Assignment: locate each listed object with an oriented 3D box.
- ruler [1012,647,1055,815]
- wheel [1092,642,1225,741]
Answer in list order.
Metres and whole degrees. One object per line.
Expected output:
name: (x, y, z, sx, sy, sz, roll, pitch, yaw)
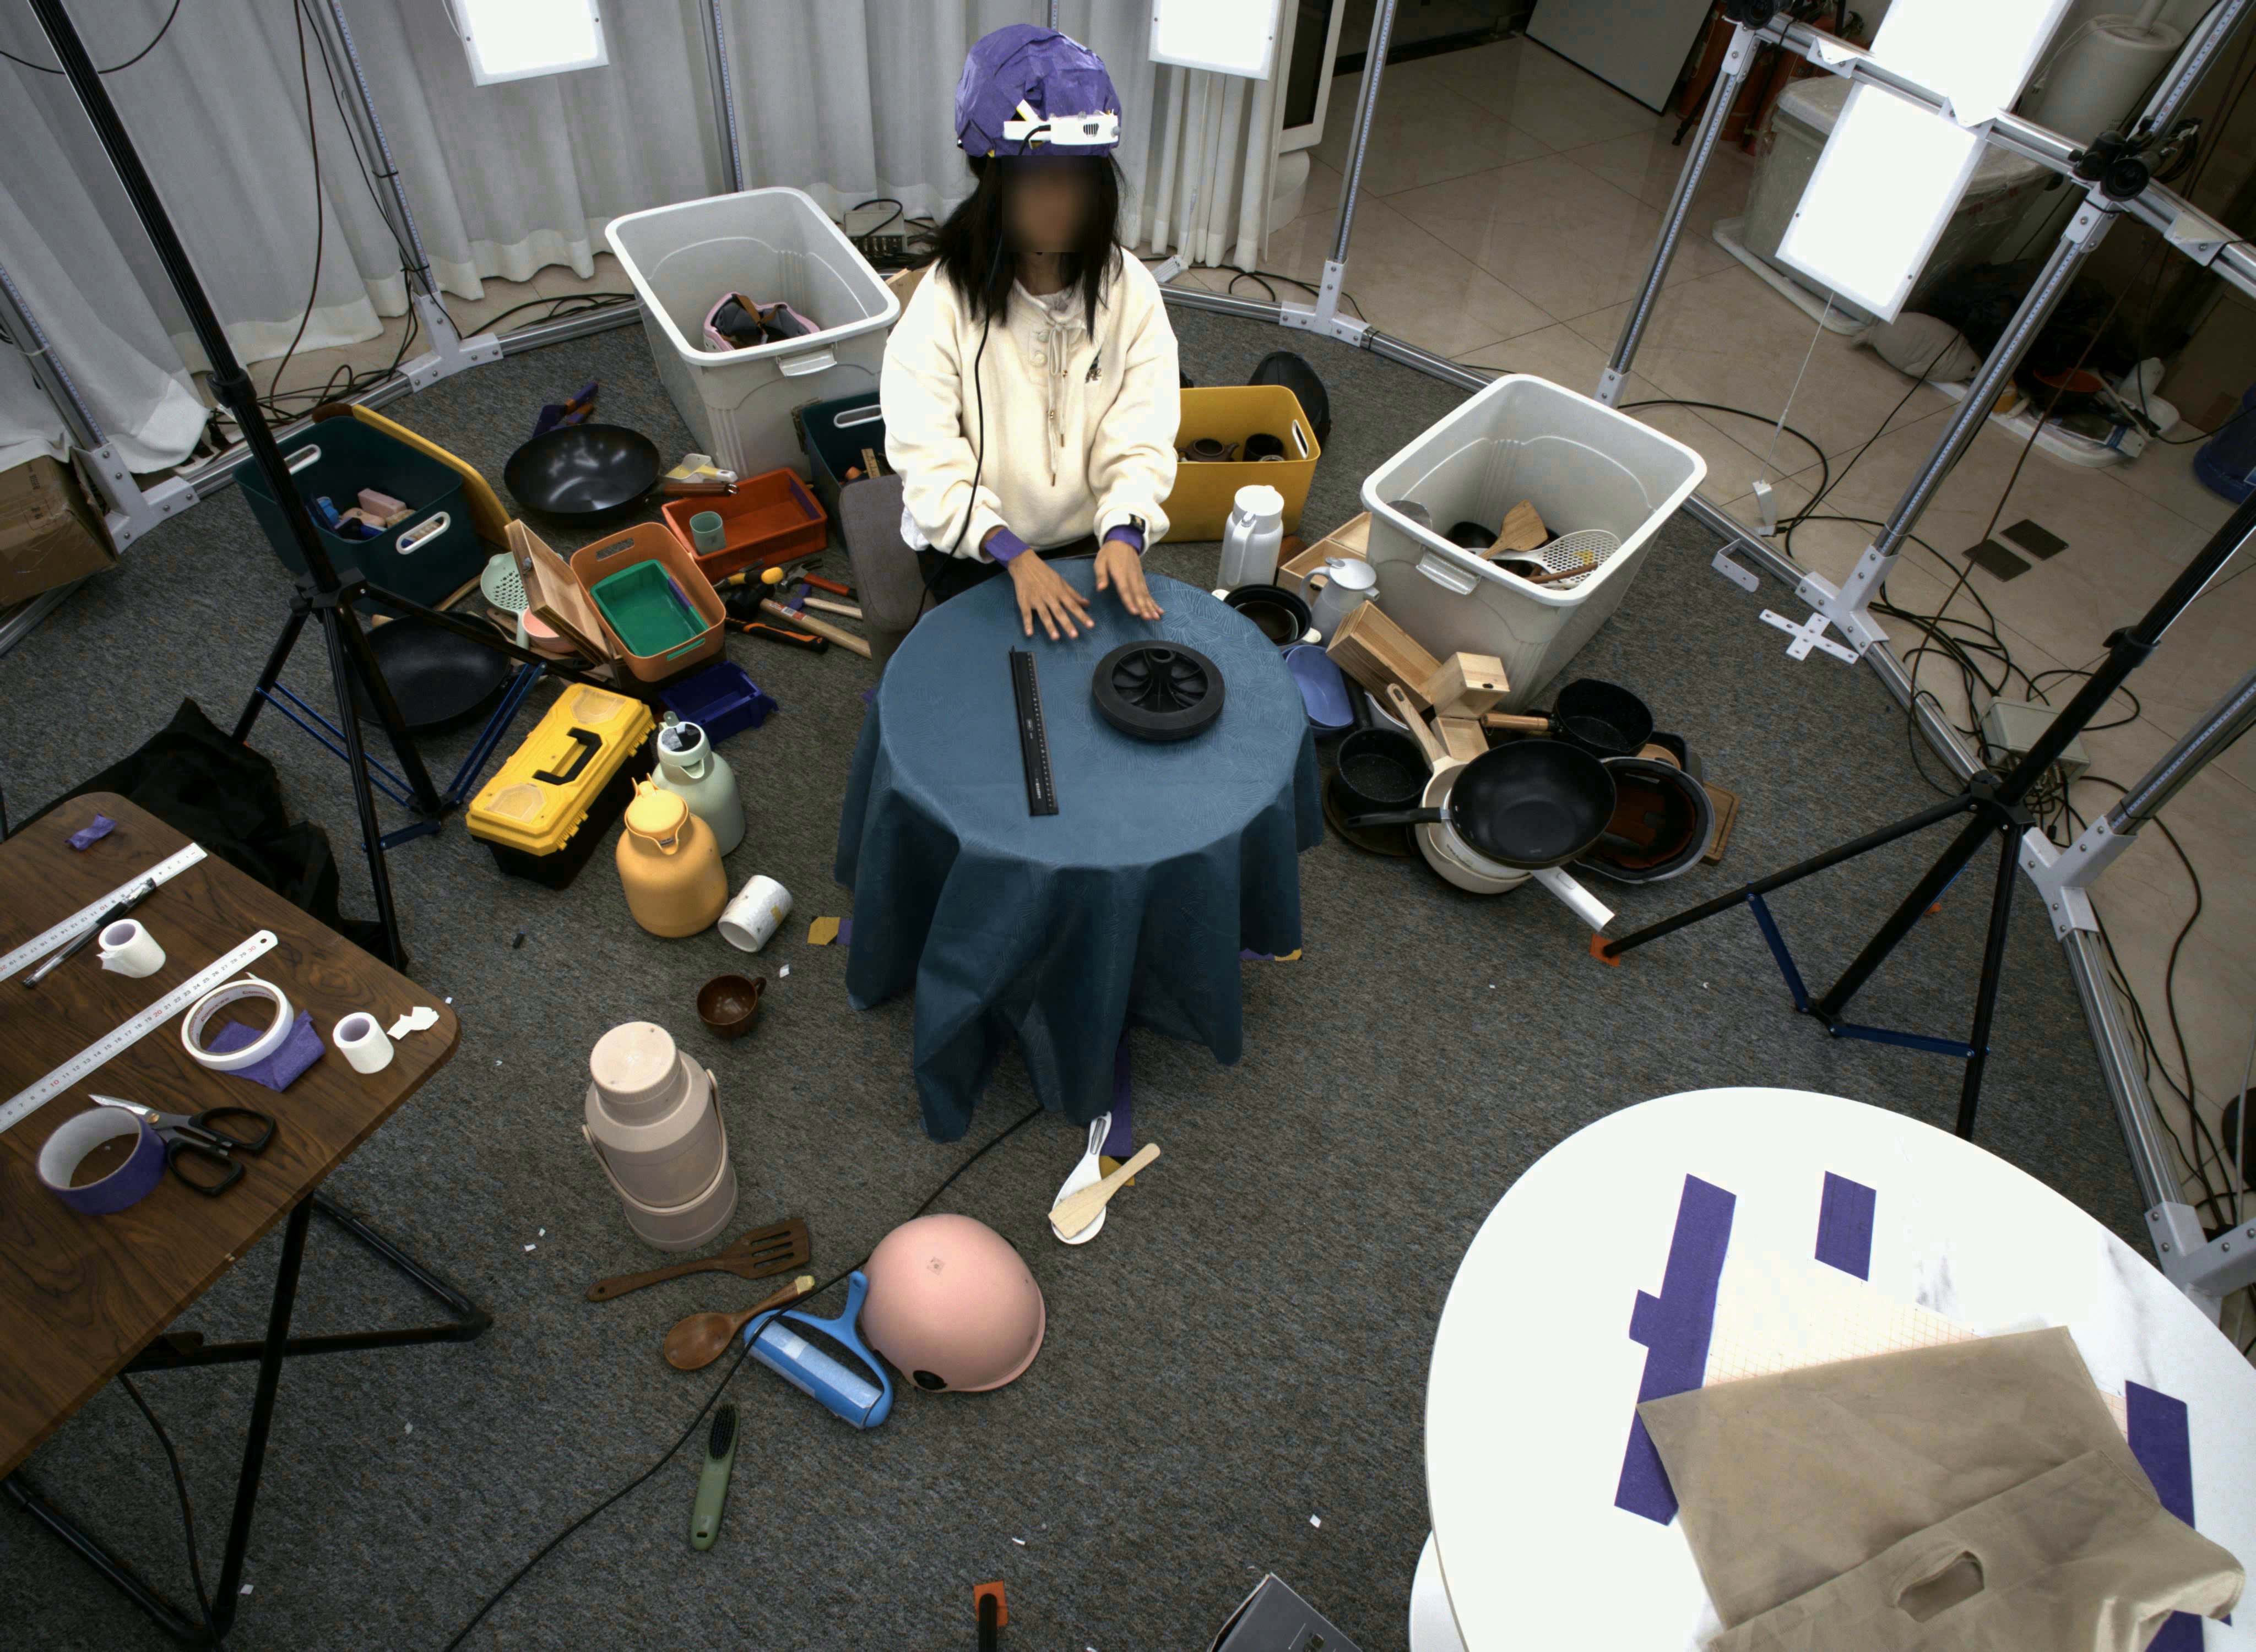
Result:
ruler: (-0.131, -0.138, 1.771, 0.039, 0.017, 0.320, -1, 49, -10)
wheel: (0.045, -0.207, 1.804, 0.190, 0.077, 0.192, 10, 47, 3)
